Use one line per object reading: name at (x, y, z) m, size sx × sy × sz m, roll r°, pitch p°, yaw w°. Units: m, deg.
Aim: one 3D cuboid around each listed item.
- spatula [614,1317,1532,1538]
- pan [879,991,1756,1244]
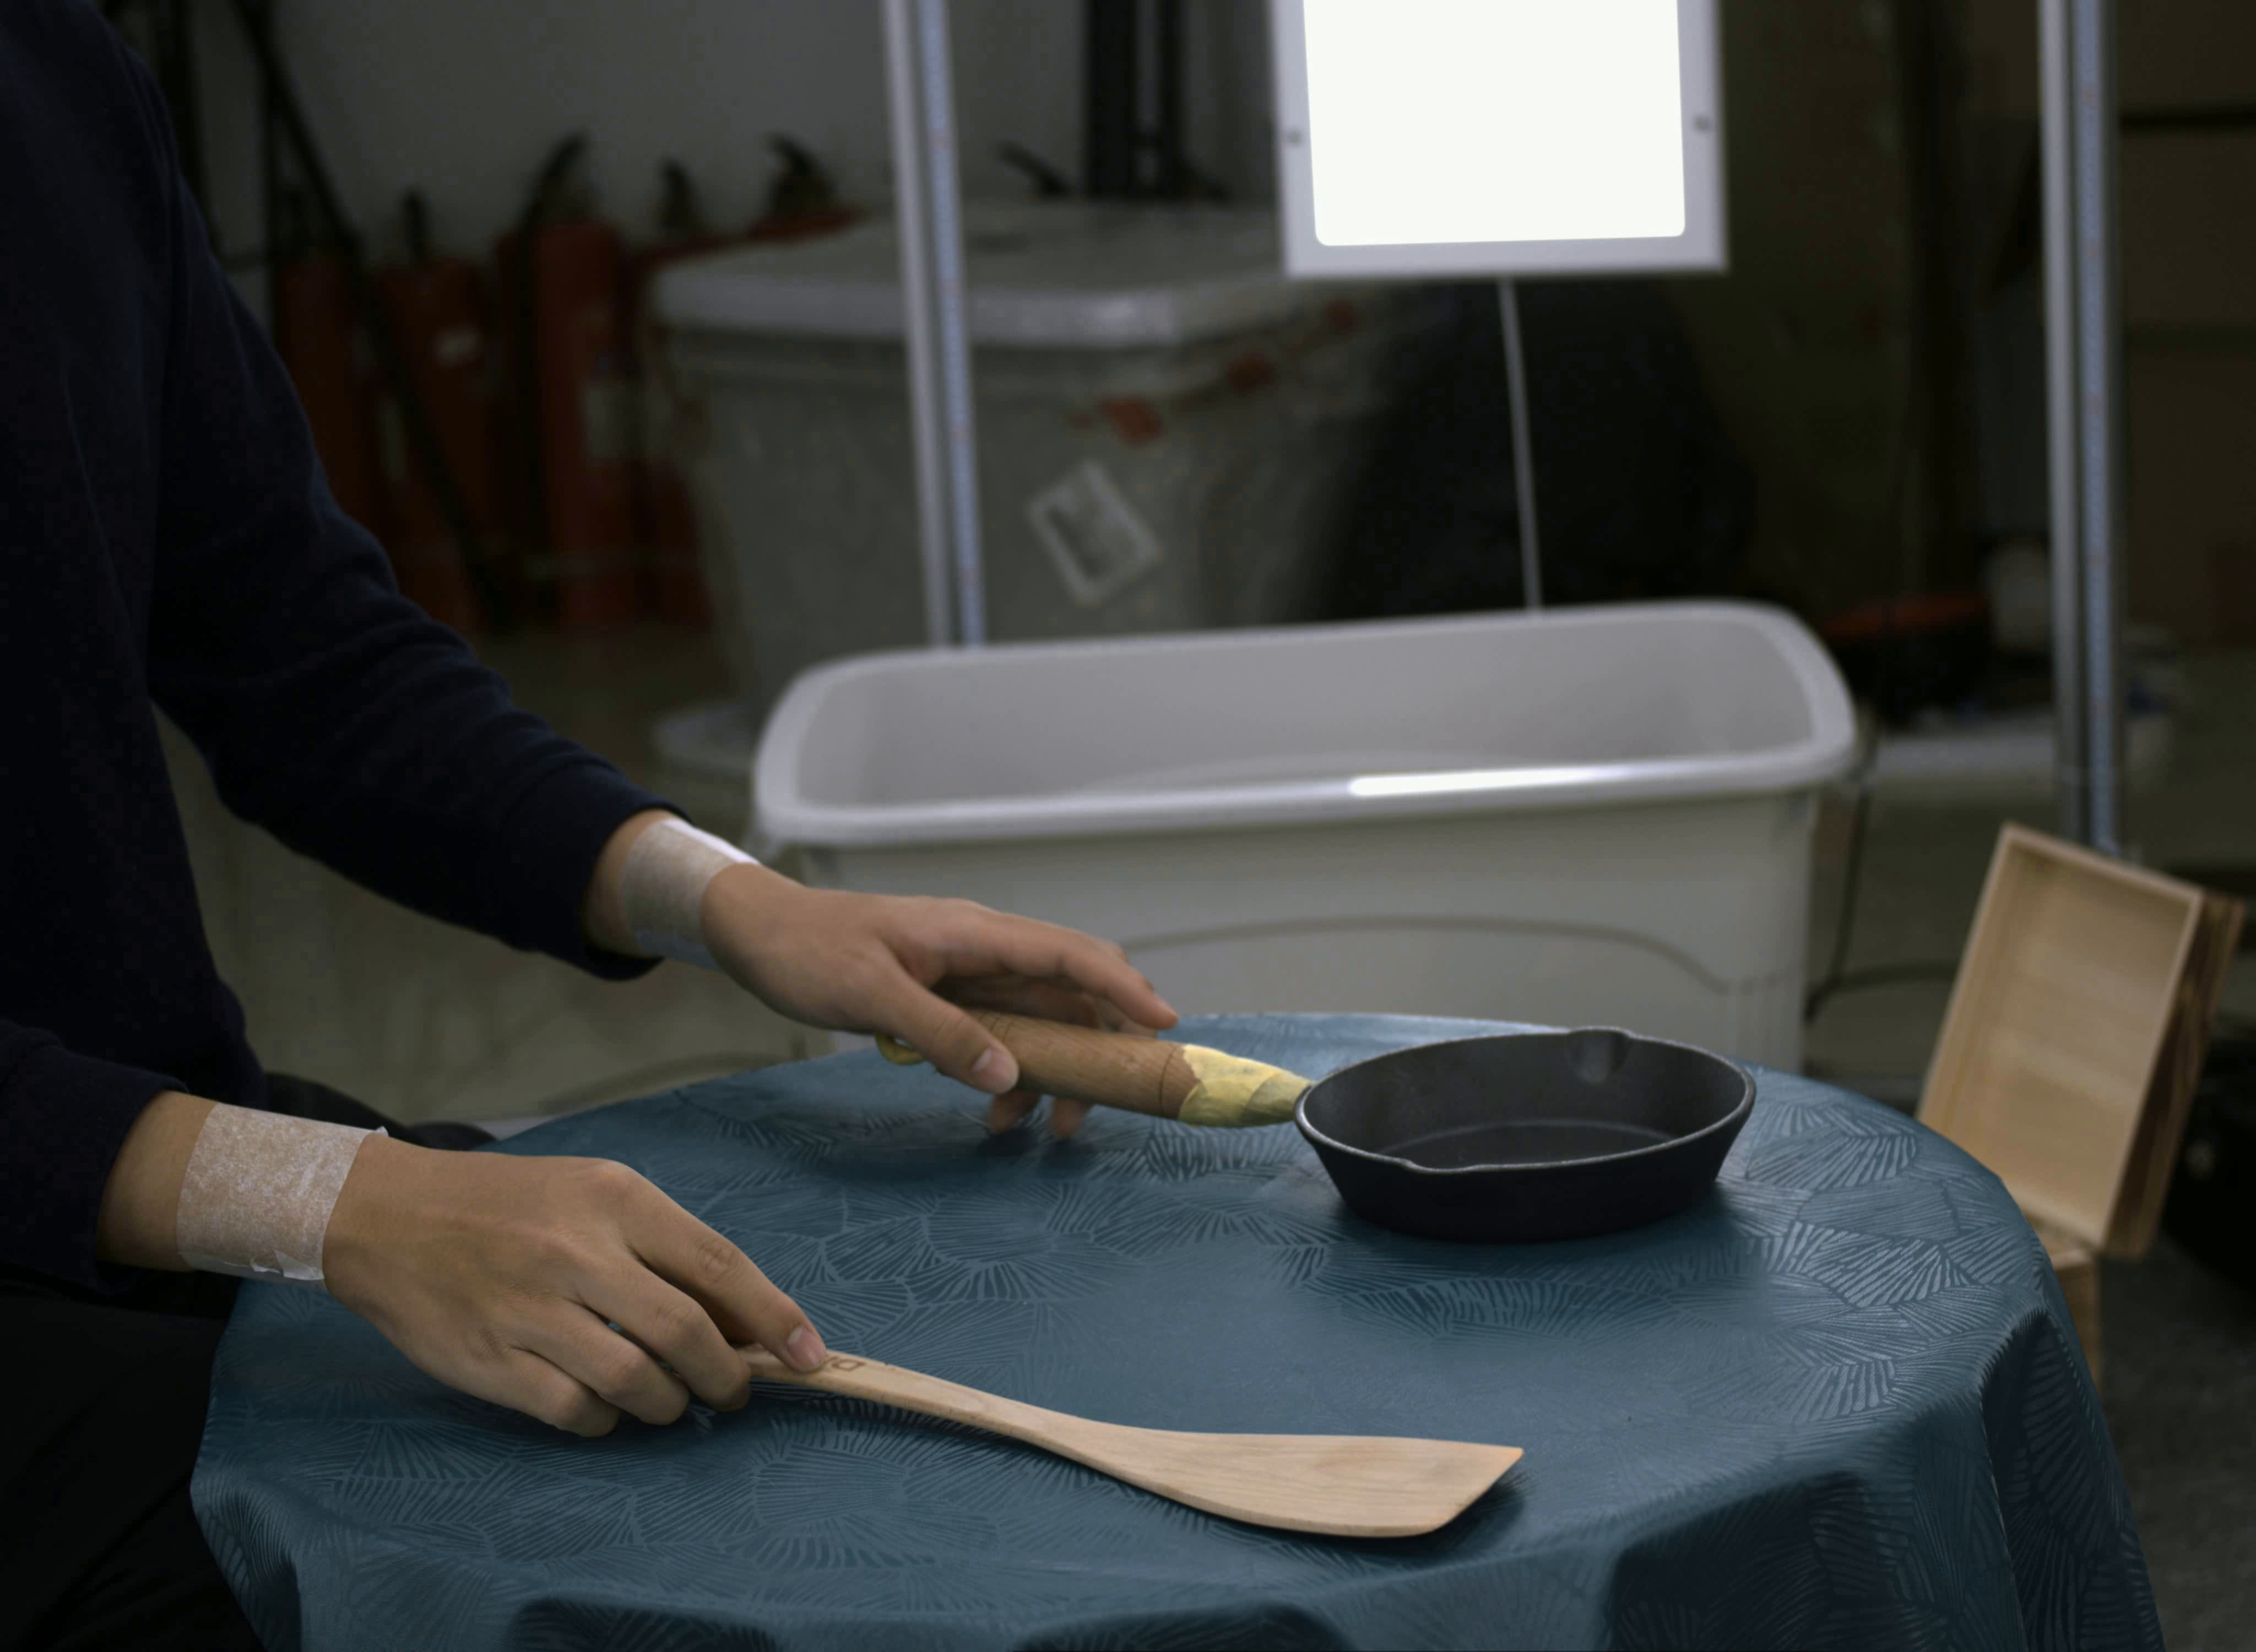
spatula at (-0.025, 0.176, 1.661) m, size 0.334 × 0.016 × 0.078 m, roll 8°, pitch 16°, yaw 35°
pan at (0.060, 0.094, 1.901) m, size 0.330 × 0.050 × 0.165 m, roll 4°, pitch 16°, yaw 28°
